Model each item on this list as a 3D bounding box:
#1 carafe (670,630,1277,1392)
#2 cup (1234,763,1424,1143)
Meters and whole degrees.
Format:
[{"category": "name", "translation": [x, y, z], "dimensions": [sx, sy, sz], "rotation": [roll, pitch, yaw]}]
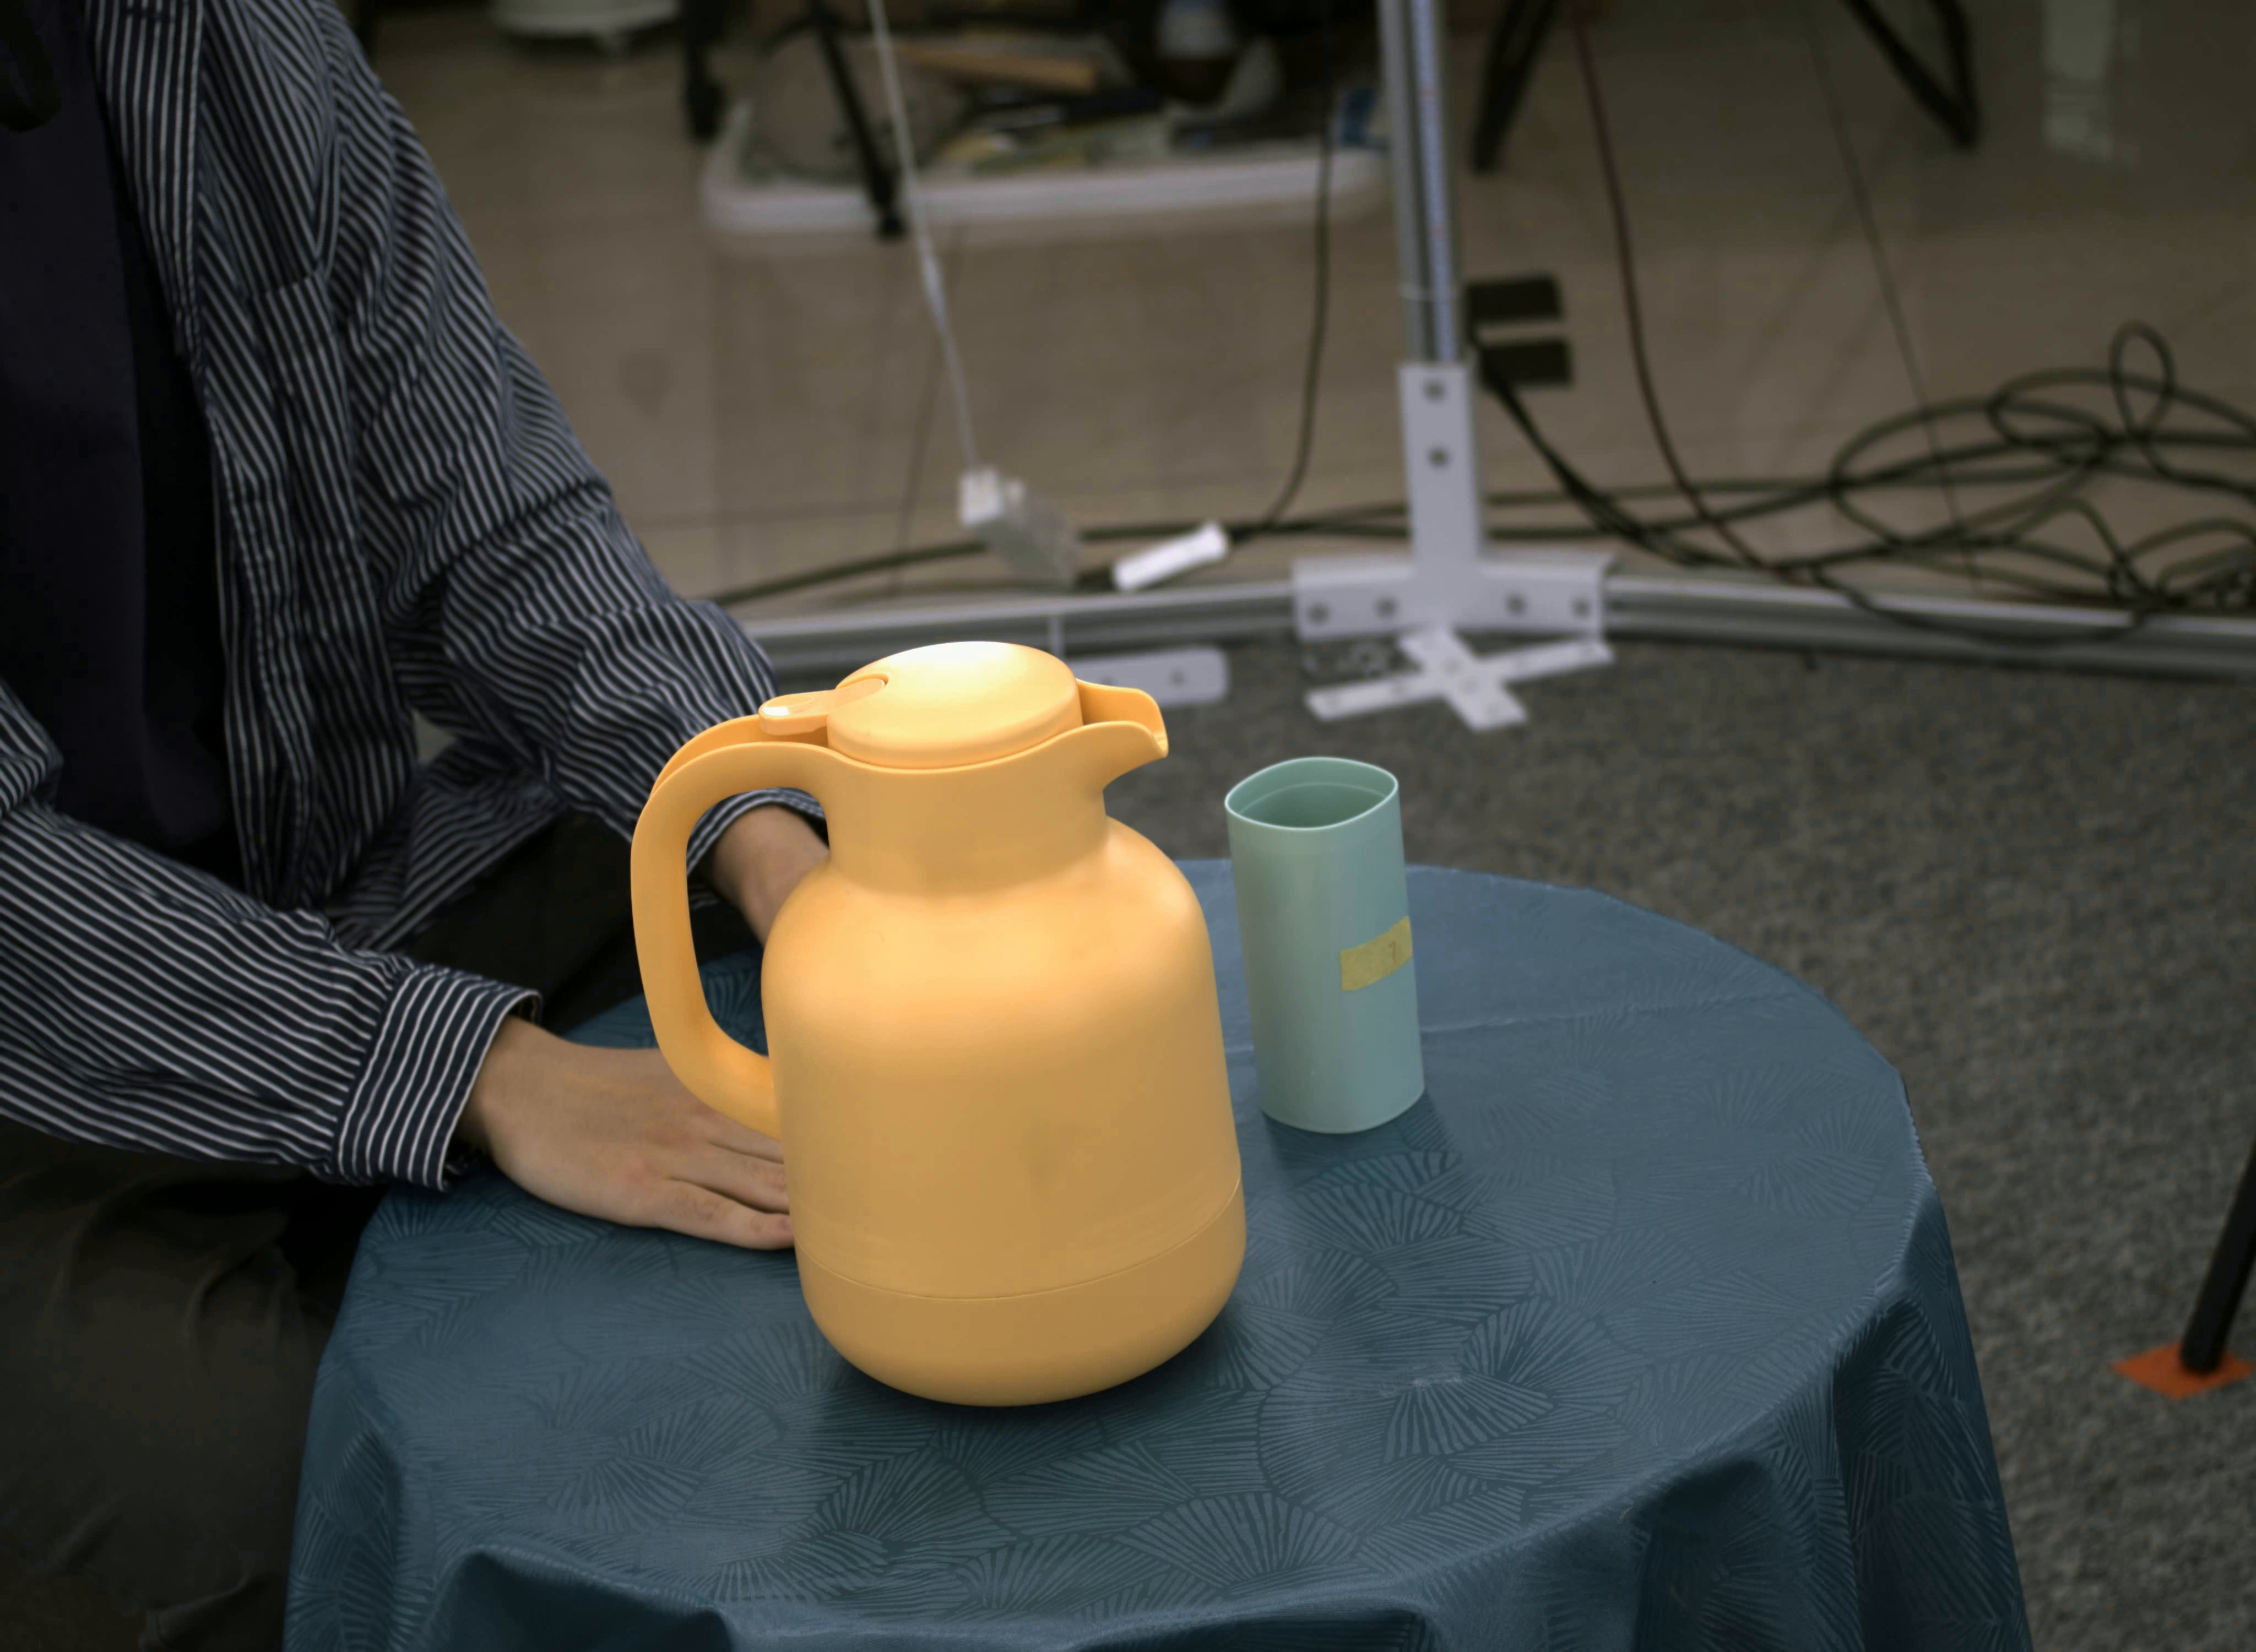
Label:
[{"category": "carafe", "translation": [-0.055, 0.062, 2.019], "dimensions": [0.202, 0.264, 0.161], "rotation": [-4, 25, 6]}, {"category": "cup", "translation": [0.077, 0.048, 2.174], "dimensions": [0.066, 0.134, 0.066], "rotation": [-4, 27, 2]}]
